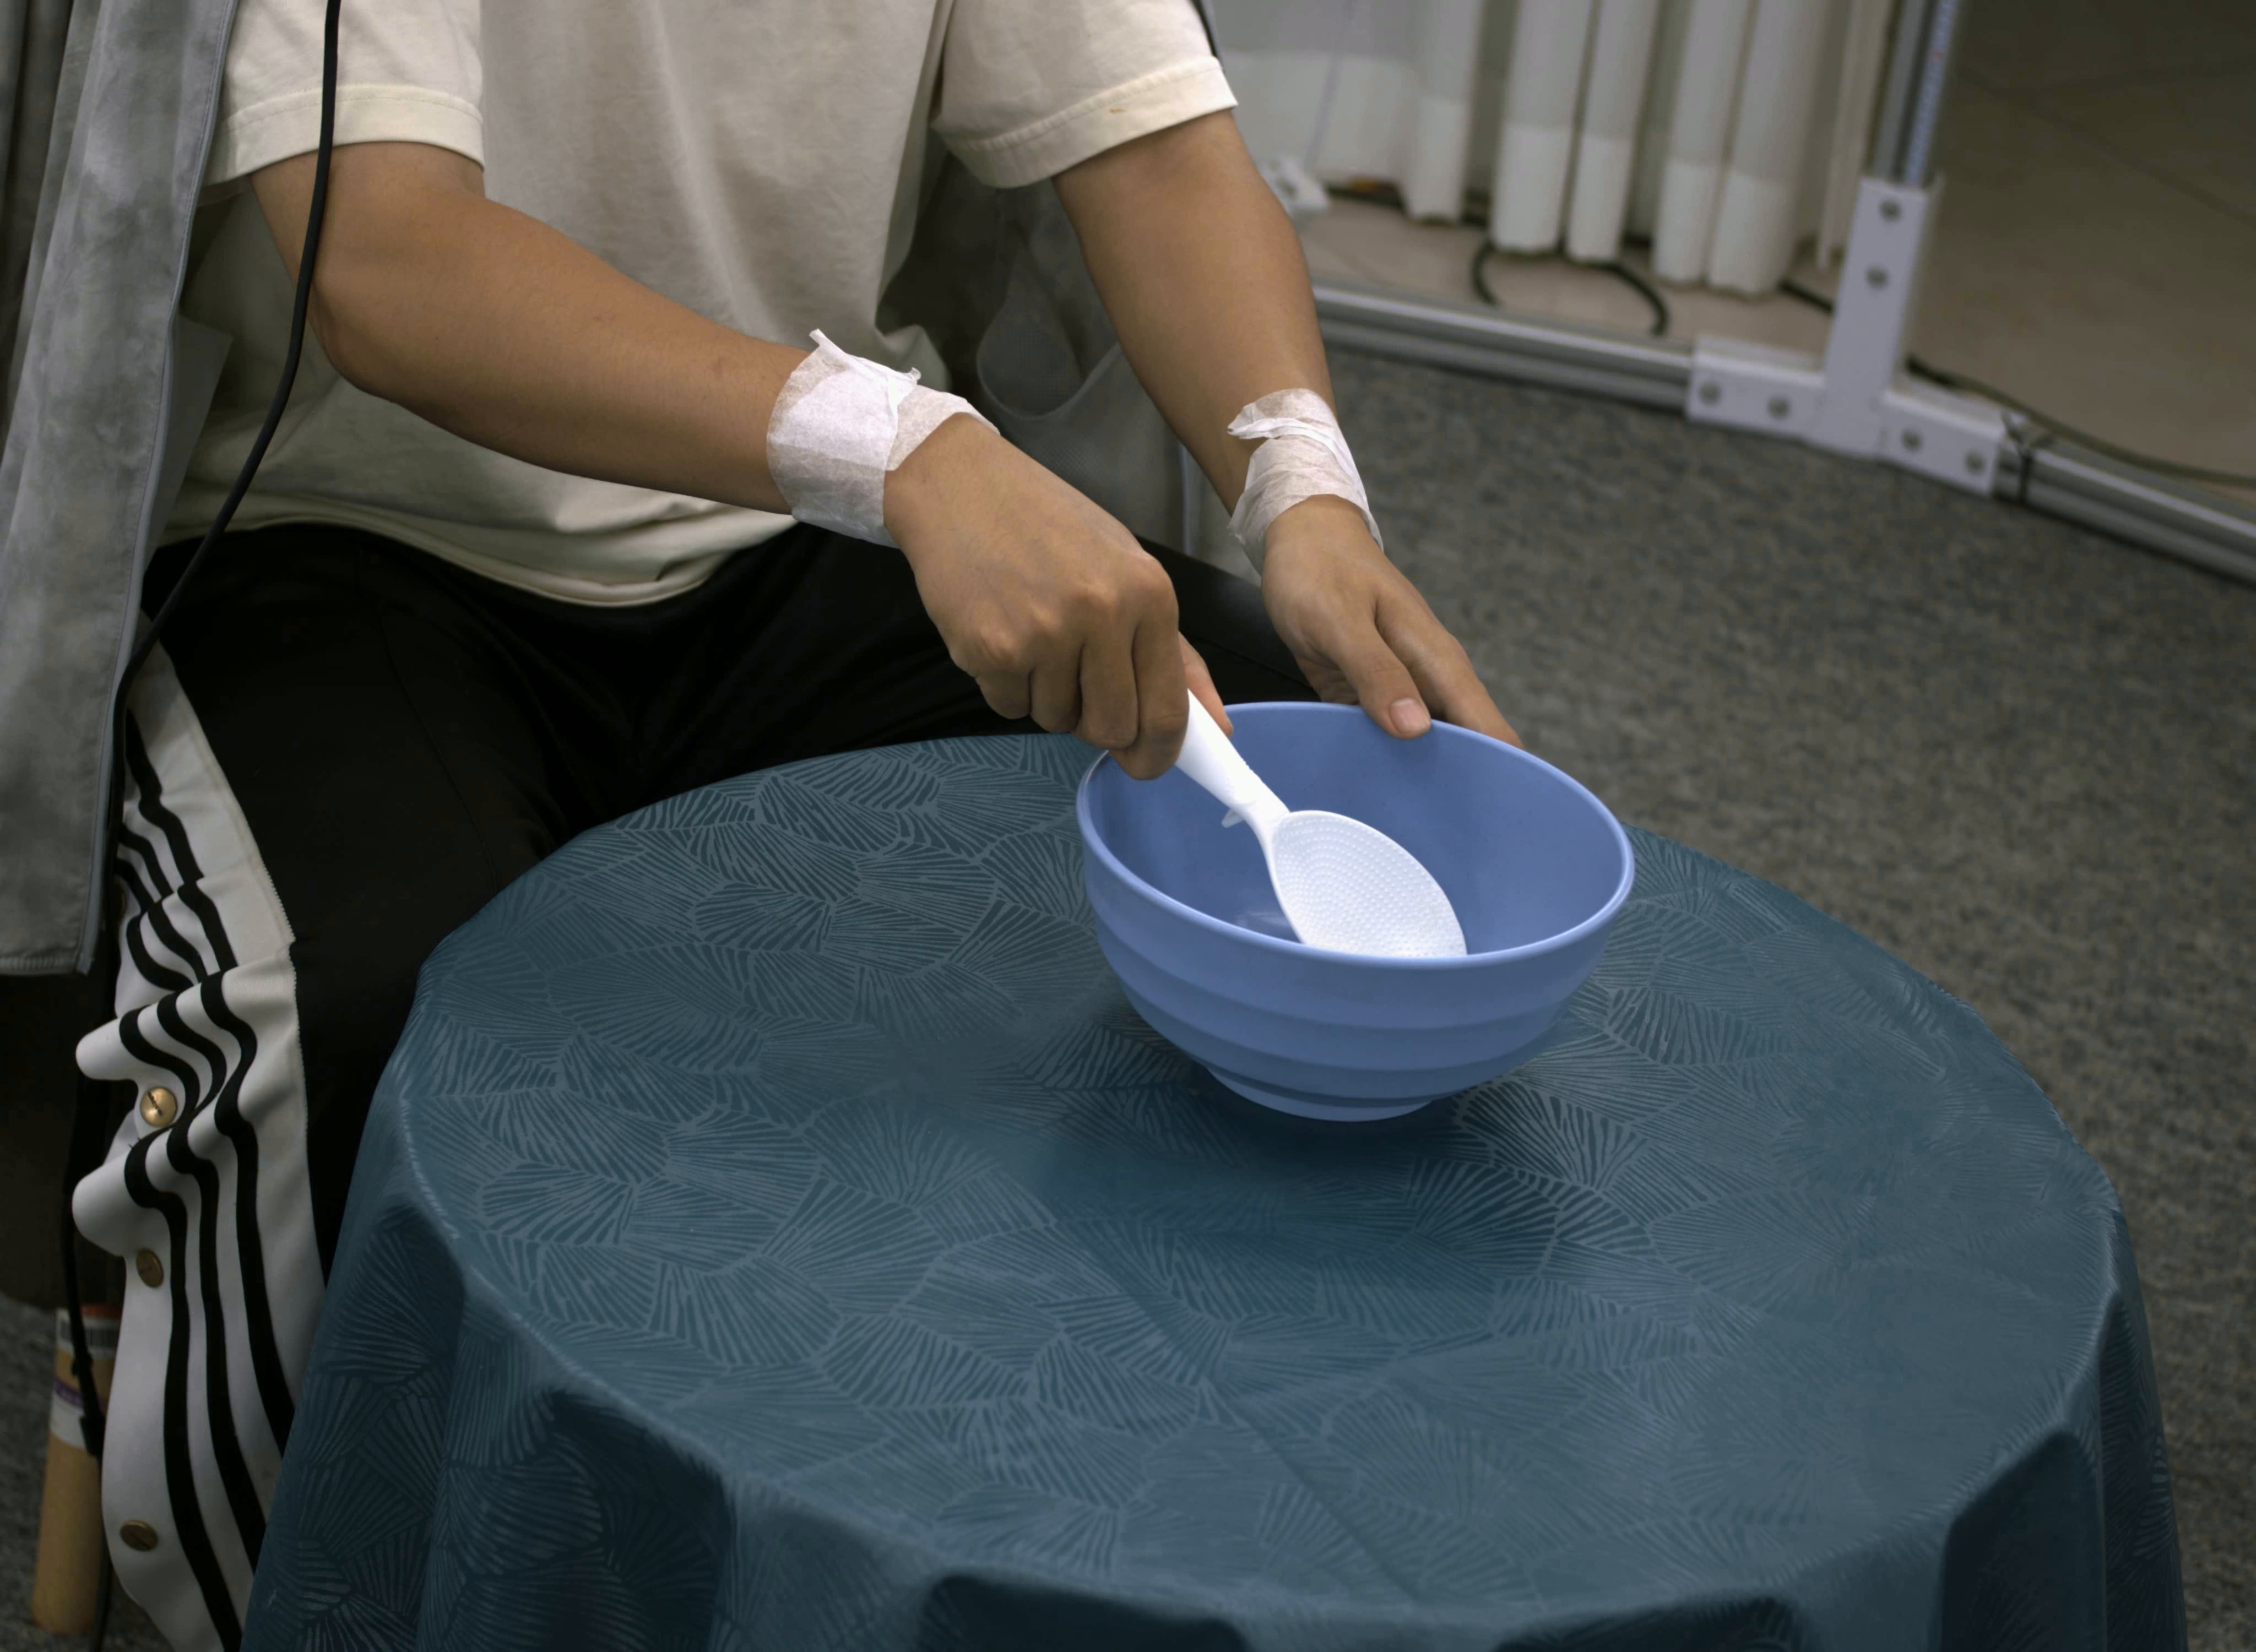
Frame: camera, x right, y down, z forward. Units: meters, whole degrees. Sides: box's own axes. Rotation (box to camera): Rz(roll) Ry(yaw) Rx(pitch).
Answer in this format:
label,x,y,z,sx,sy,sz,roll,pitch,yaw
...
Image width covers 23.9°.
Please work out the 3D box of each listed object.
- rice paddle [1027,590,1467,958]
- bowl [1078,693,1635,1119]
label,x,y,z,sx,sy,sz,roll,pitch,yaw
rice paddle,0.048,-0.006,1.892,0.204,0.029,0.069,42,52,-13
bowl,0.075,0.039,1.880,0.196,0.095,0.198,5,29,-3
